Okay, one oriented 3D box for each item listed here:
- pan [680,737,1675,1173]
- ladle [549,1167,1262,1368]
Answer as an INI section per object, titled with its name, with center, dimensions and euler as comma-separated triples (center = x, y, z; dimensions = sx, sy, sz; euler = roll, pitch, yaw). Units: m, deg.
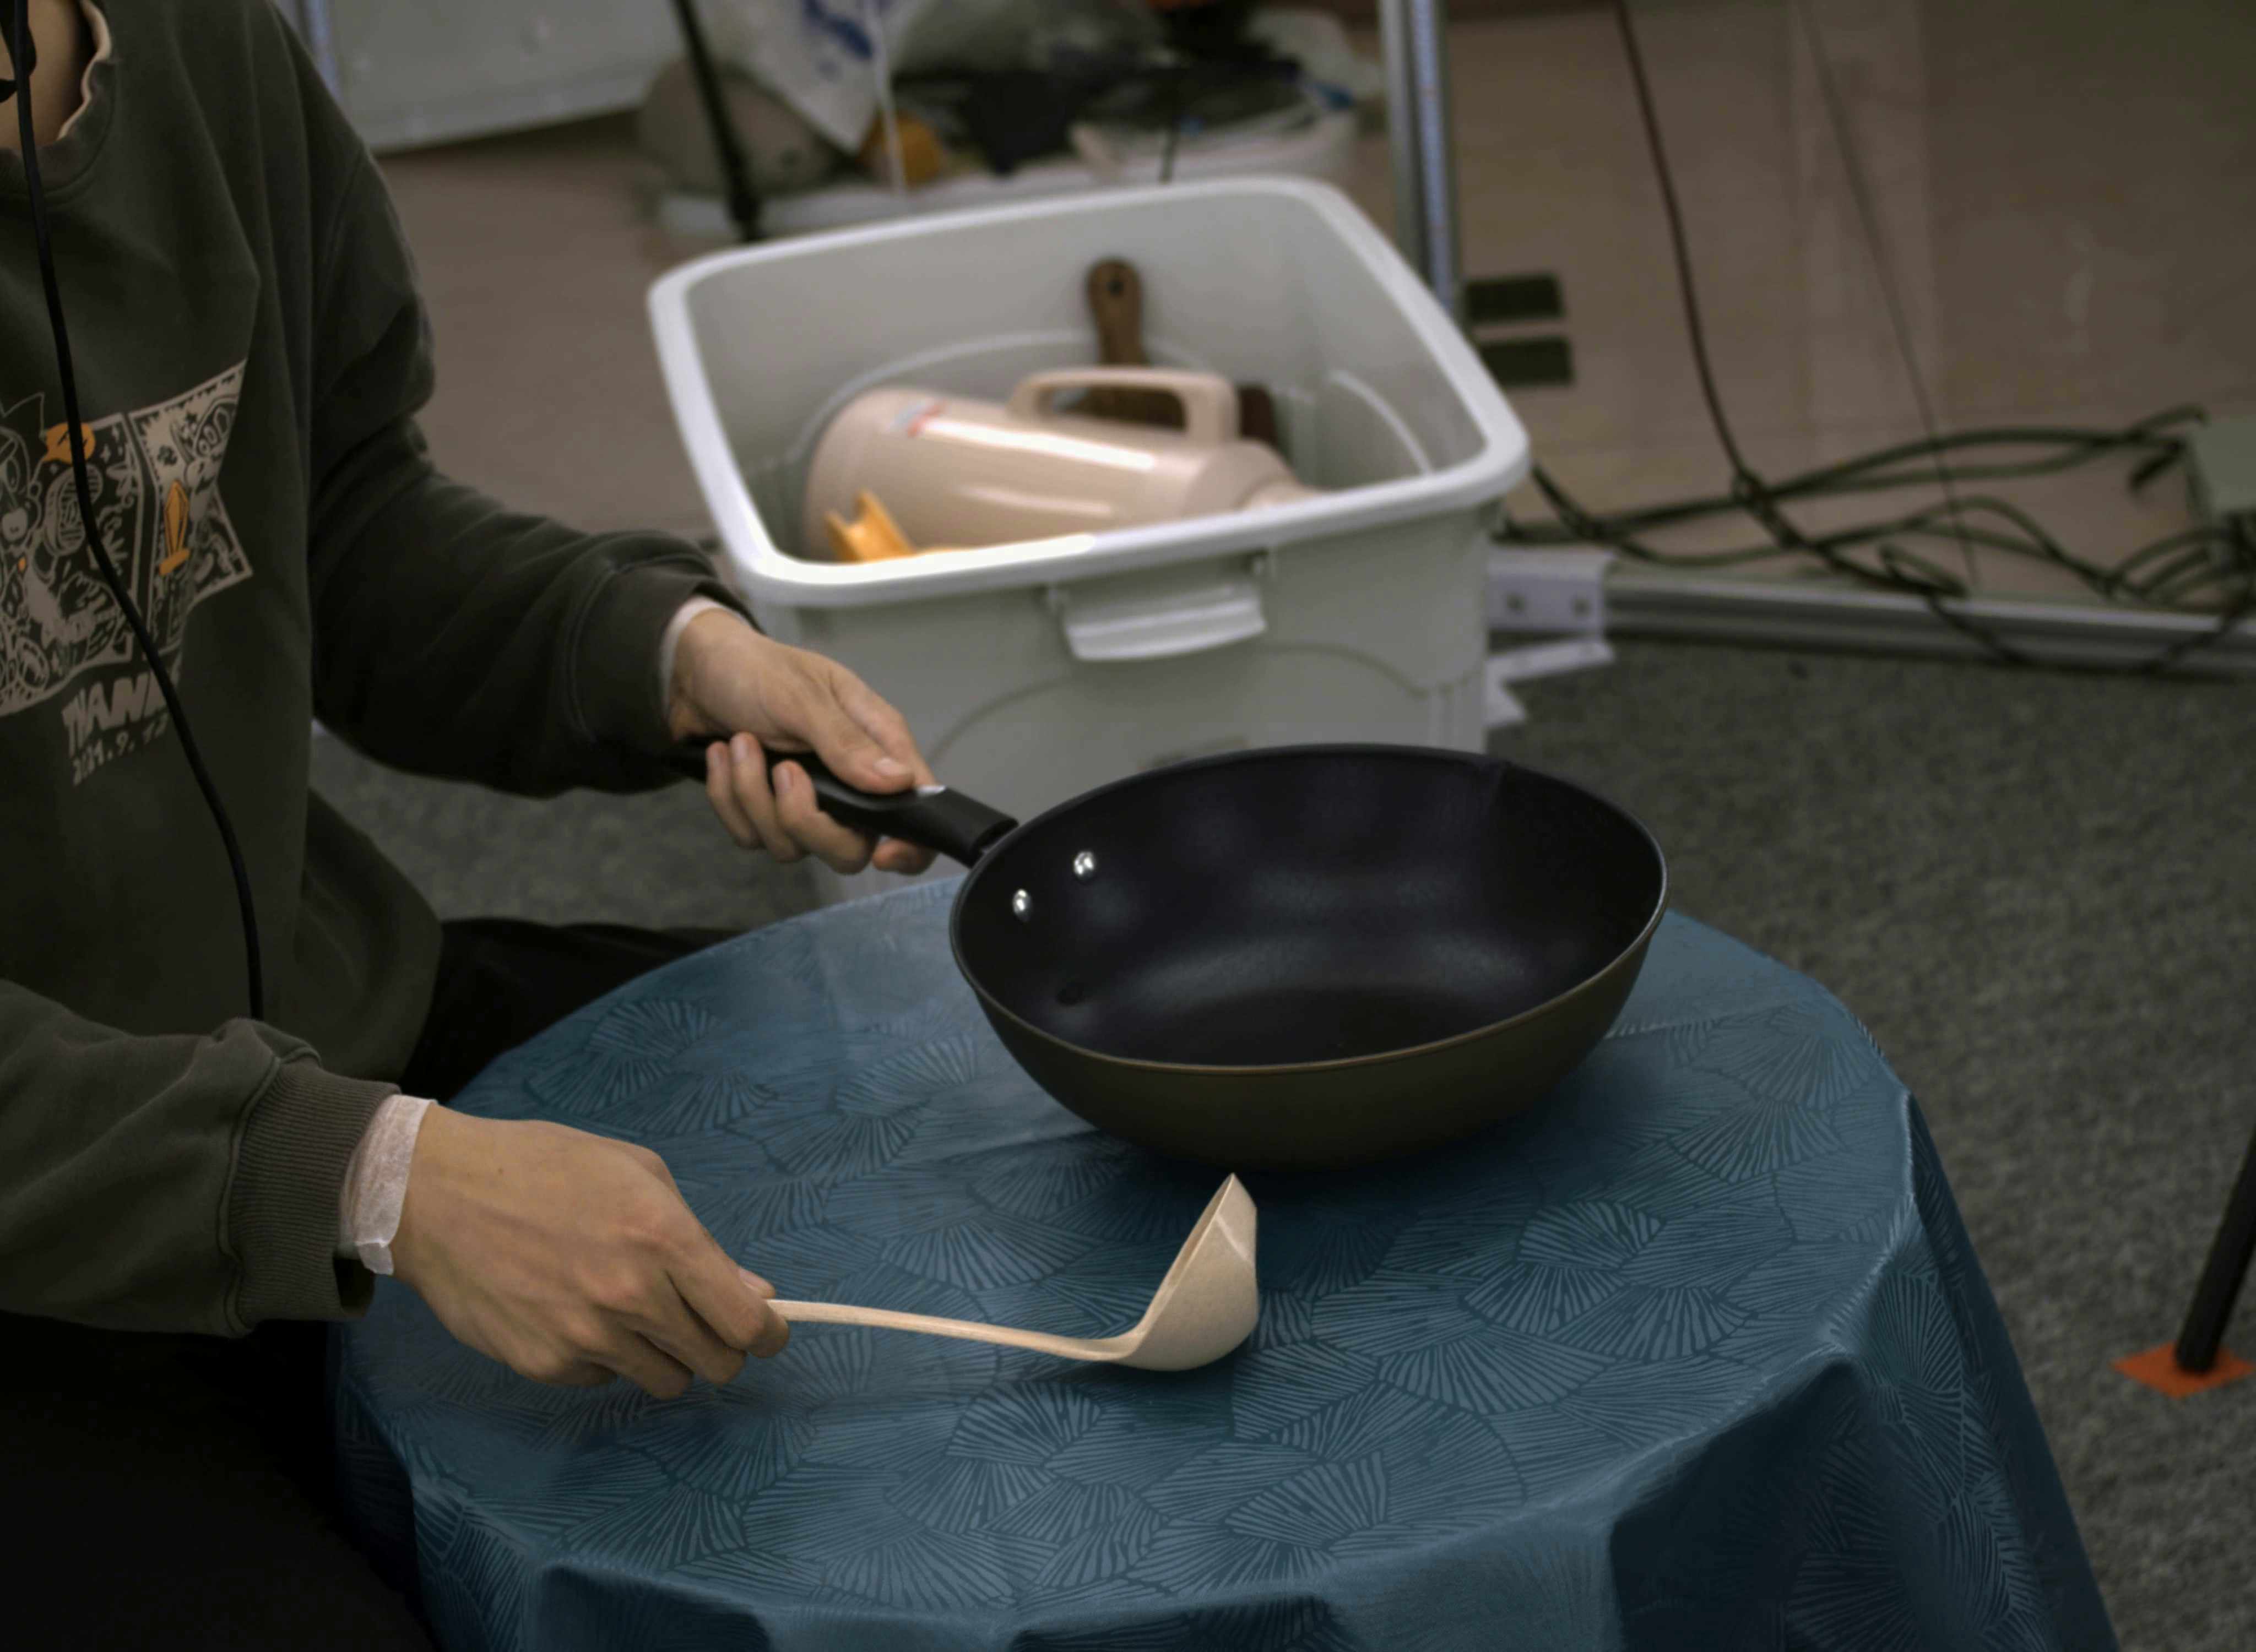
[pan]
center = 0.001, 0.044, 2.243
dimensions = 0.460, 0.088, 0.285
euler = 13, 31, 35
[ladle]
center = -0.078, 0.152, 2.017
dimensions = 0.254, 0.073, 0.071
euler = 3, 10, 0
